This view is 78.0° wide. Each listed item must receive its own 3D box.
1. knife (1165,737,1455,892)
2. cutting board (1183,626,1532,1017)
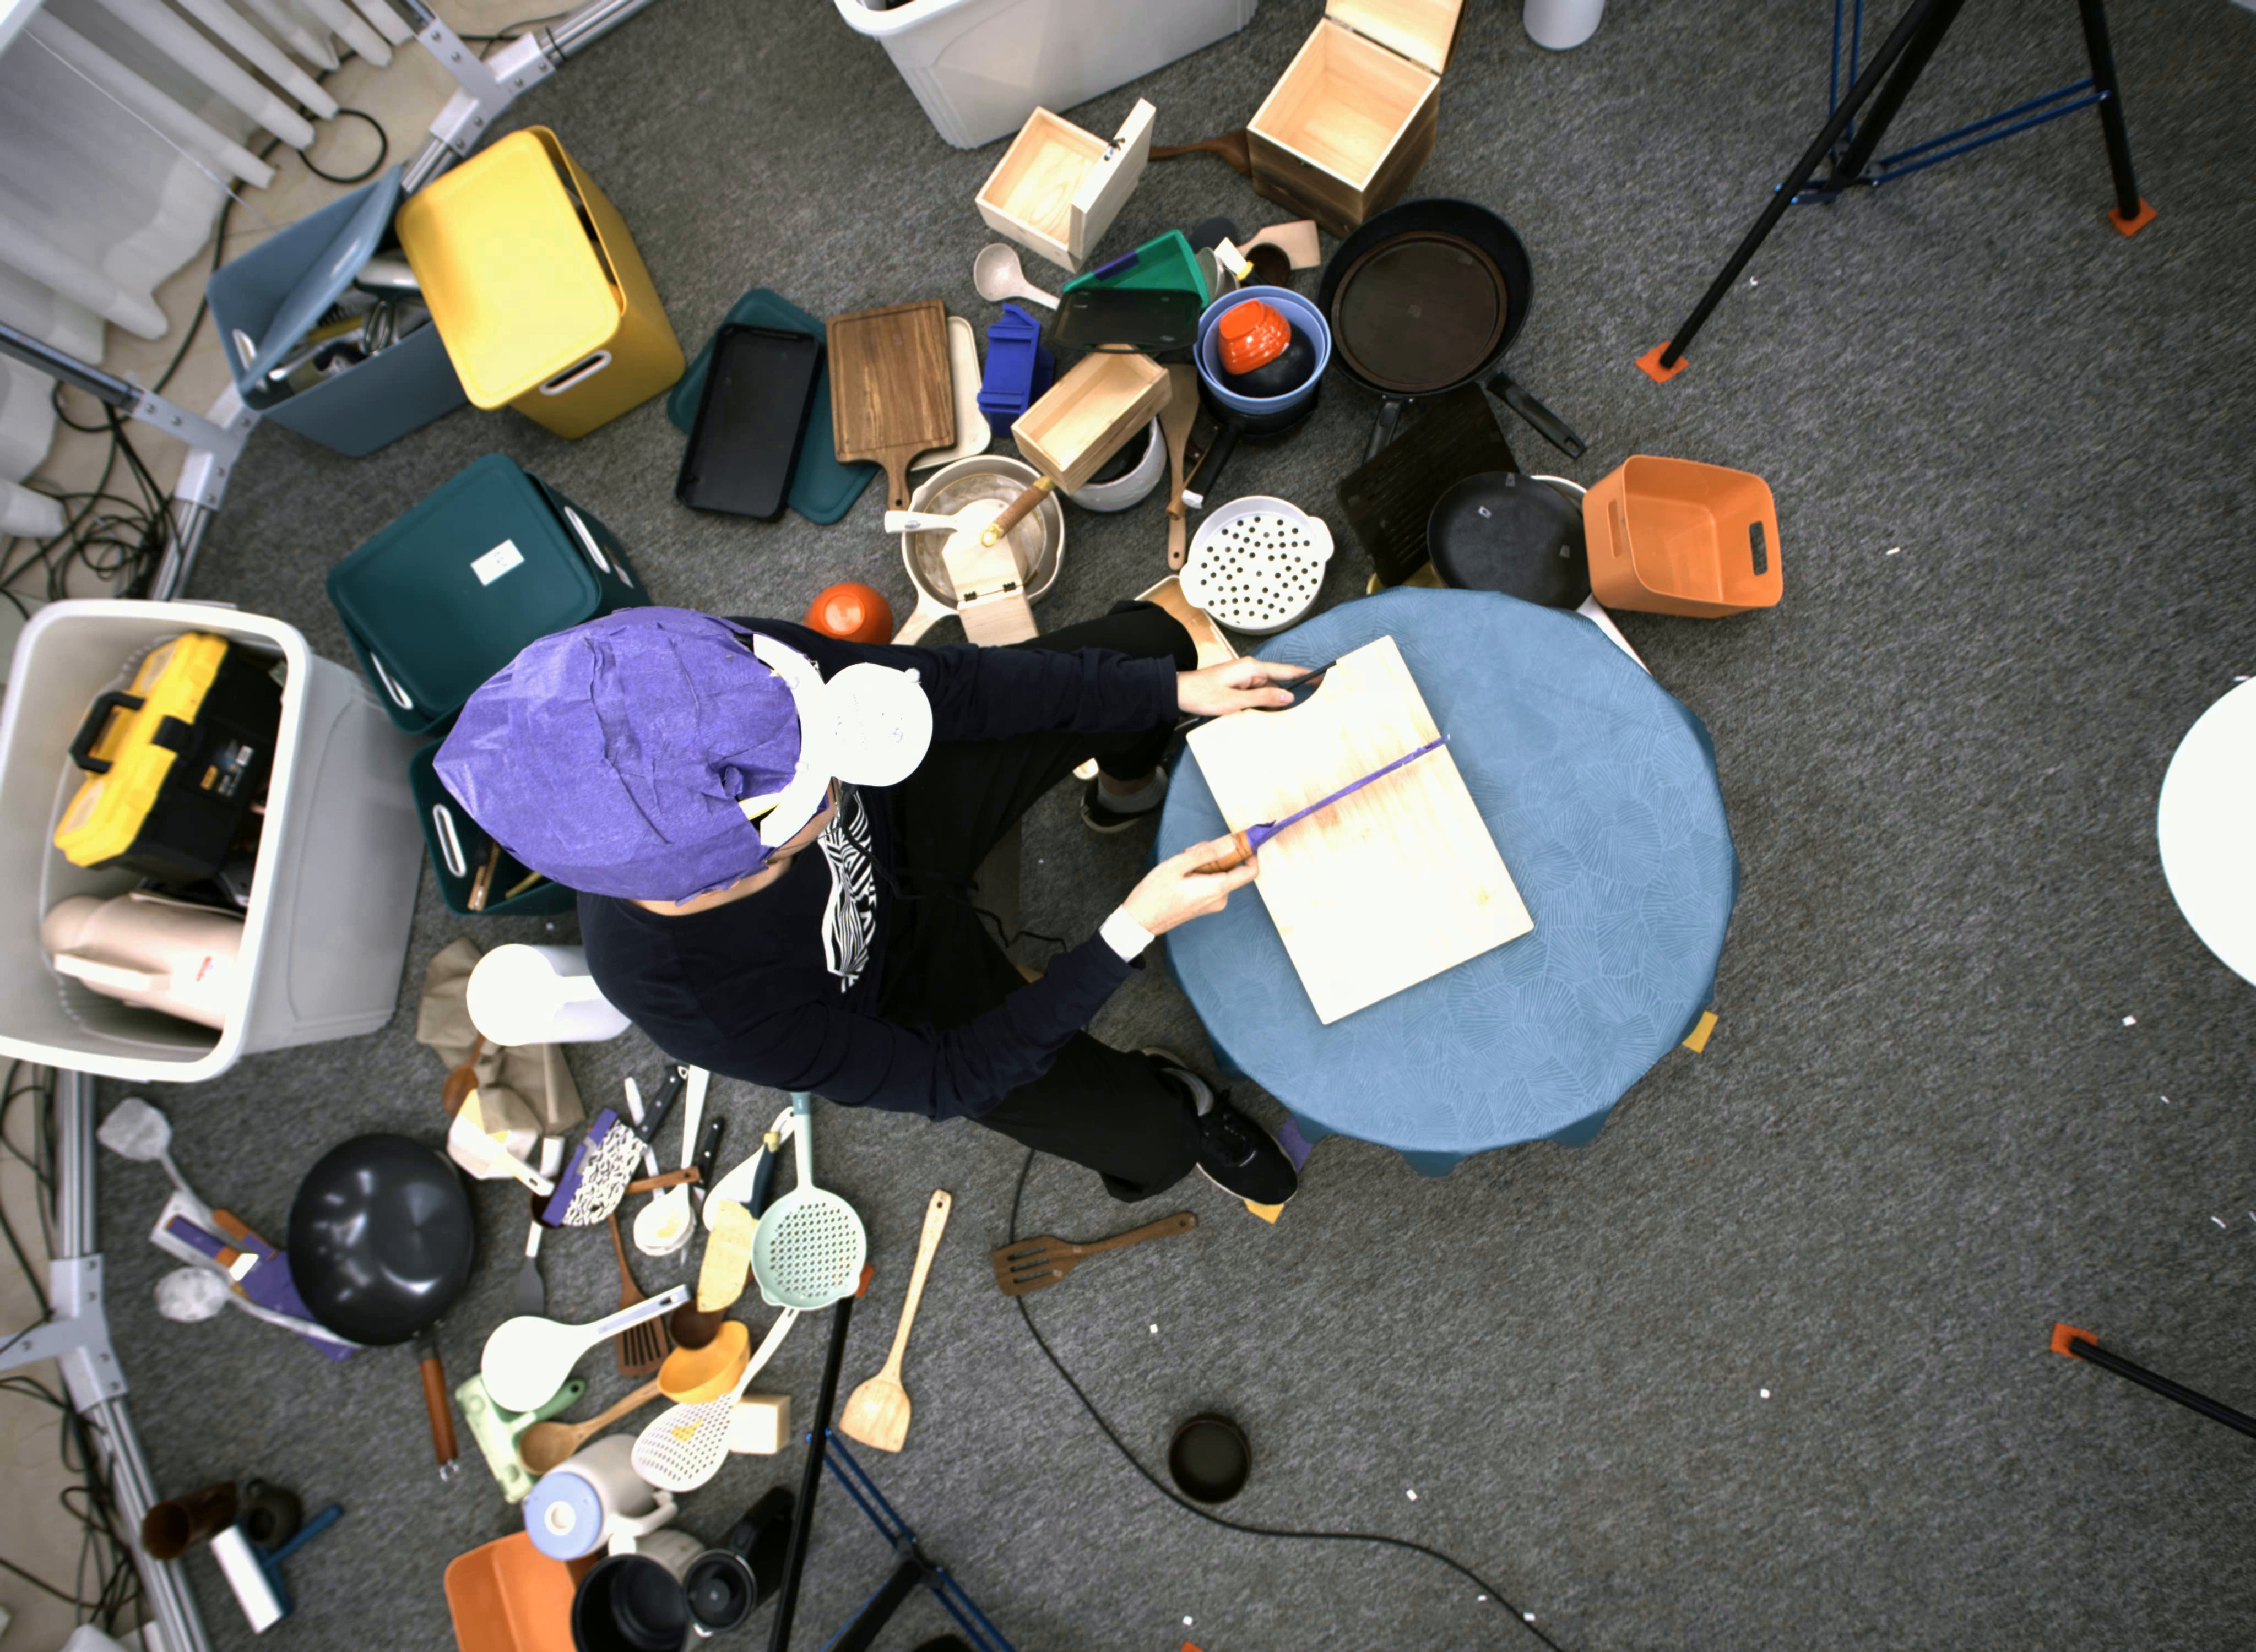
[{"bbox_3d":[0.188,-0.013,1.397,0.318,0.103,0.032,-26,83,11],"label":"knife"},{"bbox_3d":[0.238,-0.003,1.447,0.252,0.023,0.347,-26,87,8],"label":"cutting board"}]
